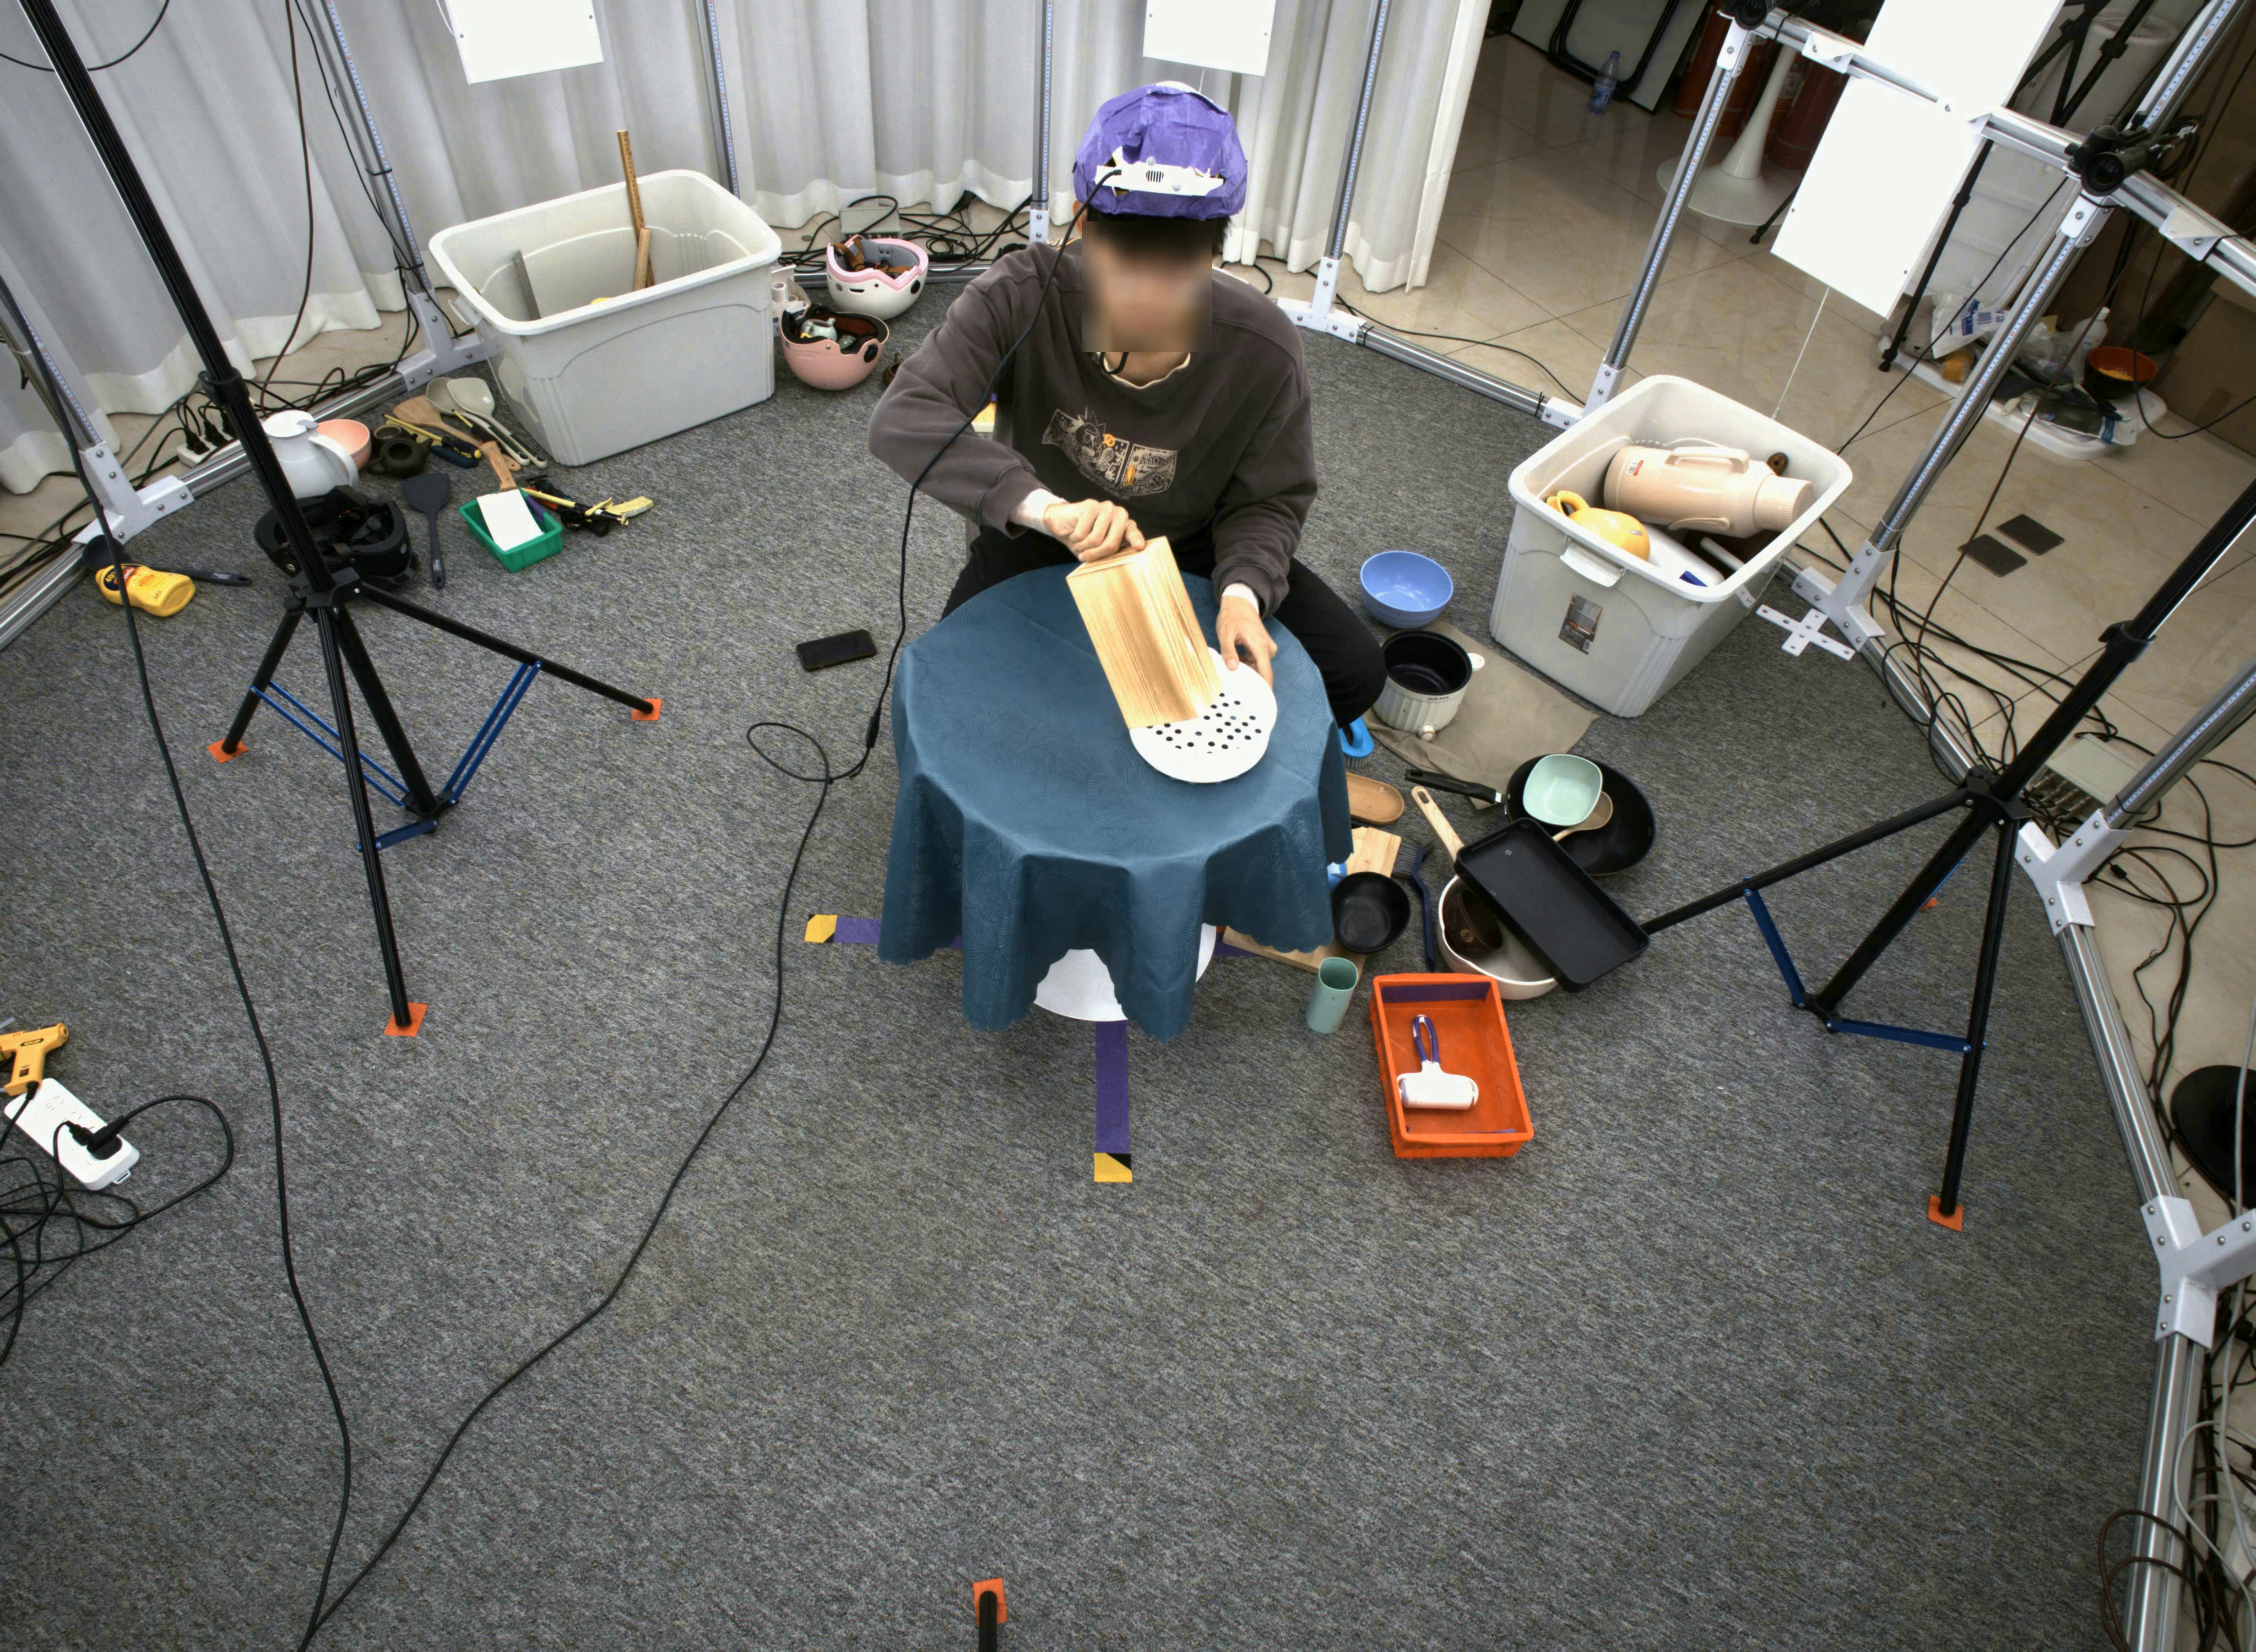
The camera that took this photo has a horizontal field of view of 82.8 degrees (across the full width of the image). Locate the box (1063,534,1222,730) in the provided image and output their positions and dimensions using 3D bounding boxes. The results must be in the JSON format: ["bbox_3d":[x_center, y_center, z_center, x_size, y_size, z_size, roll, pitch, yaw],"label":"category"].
[{"bbox_3d":[0.020,-0.236,1.581,0.107,0.208,0.081,-8,25,36],"label":"box"}]

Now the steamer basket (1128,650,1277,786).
[{"bbox_3d":[0.100,-0.144,1.753,0.201,0.067,0.236,-1,48,-5],"label":"steamer basket"}]
